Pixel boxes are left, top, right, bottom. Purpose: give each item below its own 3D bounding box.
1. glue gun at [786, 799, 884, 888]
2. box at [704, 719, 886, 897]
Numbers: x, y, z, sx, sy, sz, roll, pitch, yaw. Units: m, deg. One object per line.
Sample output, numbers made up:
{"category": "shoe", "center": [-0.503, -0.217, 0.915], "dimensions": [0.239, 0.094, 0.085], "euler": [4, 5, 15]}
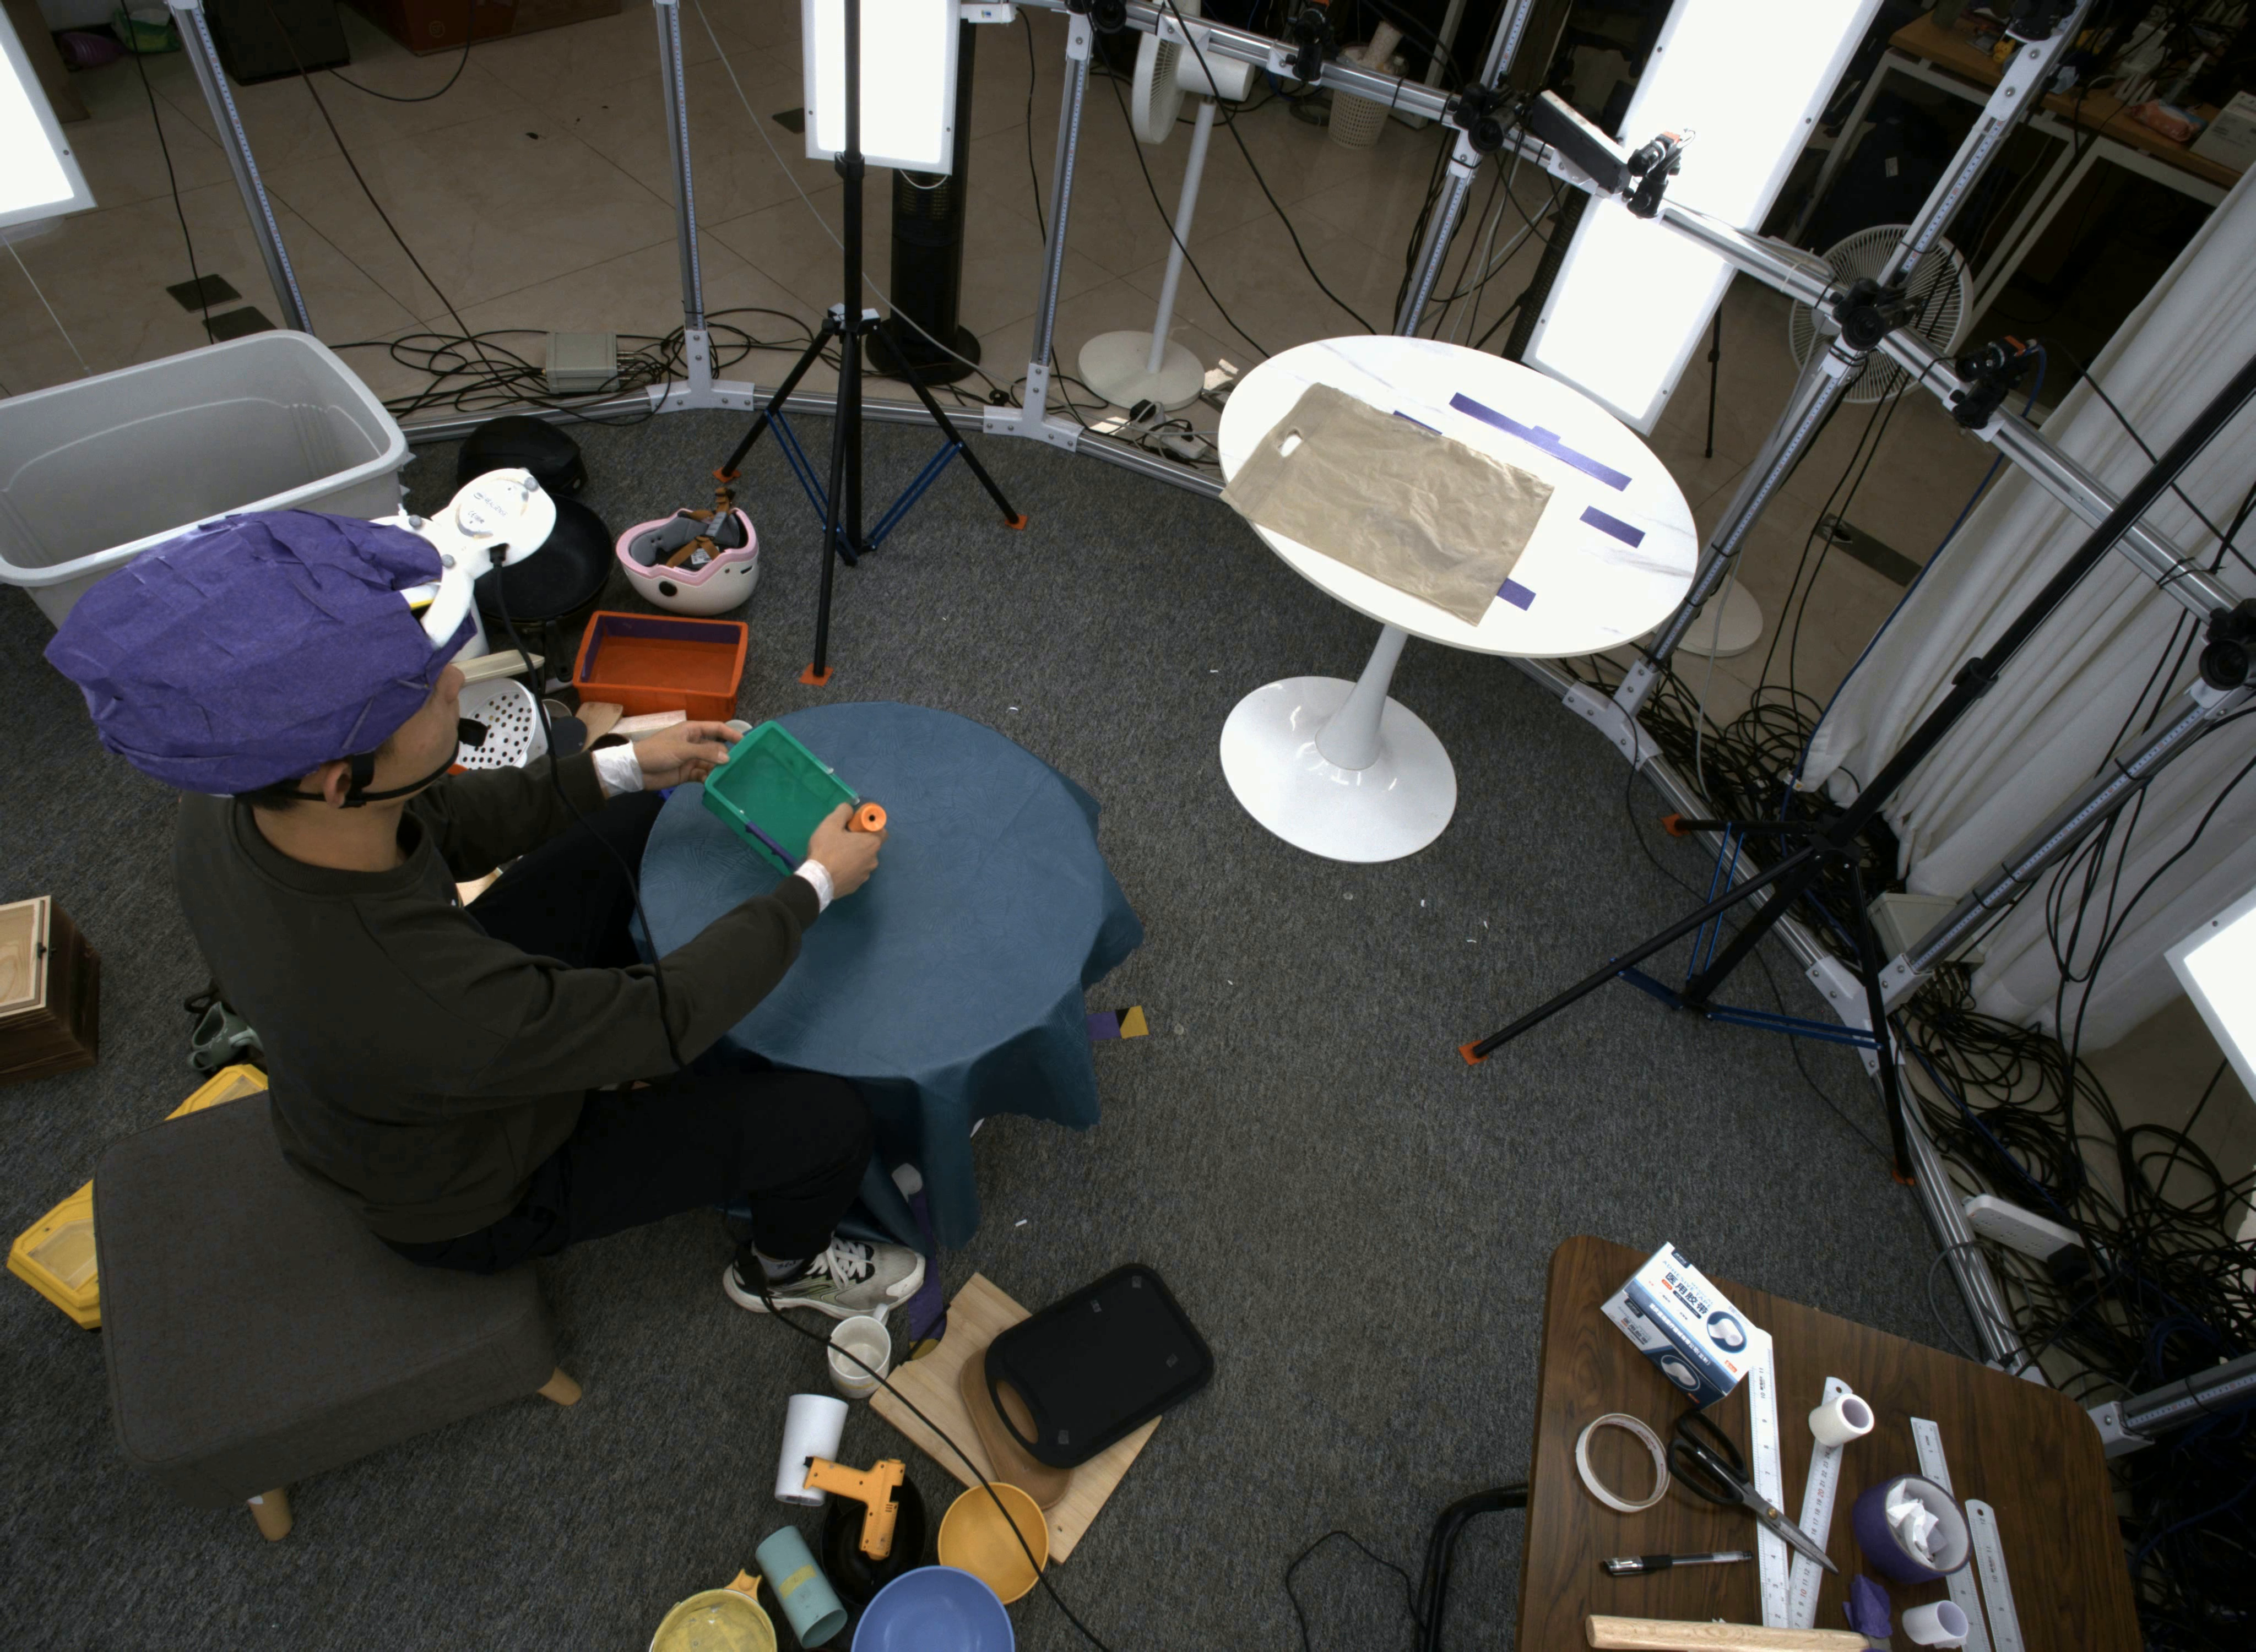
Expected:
{"category": "glue gun", "center": [-0.354, 0.011, 1.599], "dimensions": [0.042, 0.115, 0.139], "euler": [49, 62, -13]}
{"category": "box", "center": [-0.428, -0.019, 1.651], "dimensions": [0.214, 0.064, 0.138], "euler": [43, 54, -13]}
